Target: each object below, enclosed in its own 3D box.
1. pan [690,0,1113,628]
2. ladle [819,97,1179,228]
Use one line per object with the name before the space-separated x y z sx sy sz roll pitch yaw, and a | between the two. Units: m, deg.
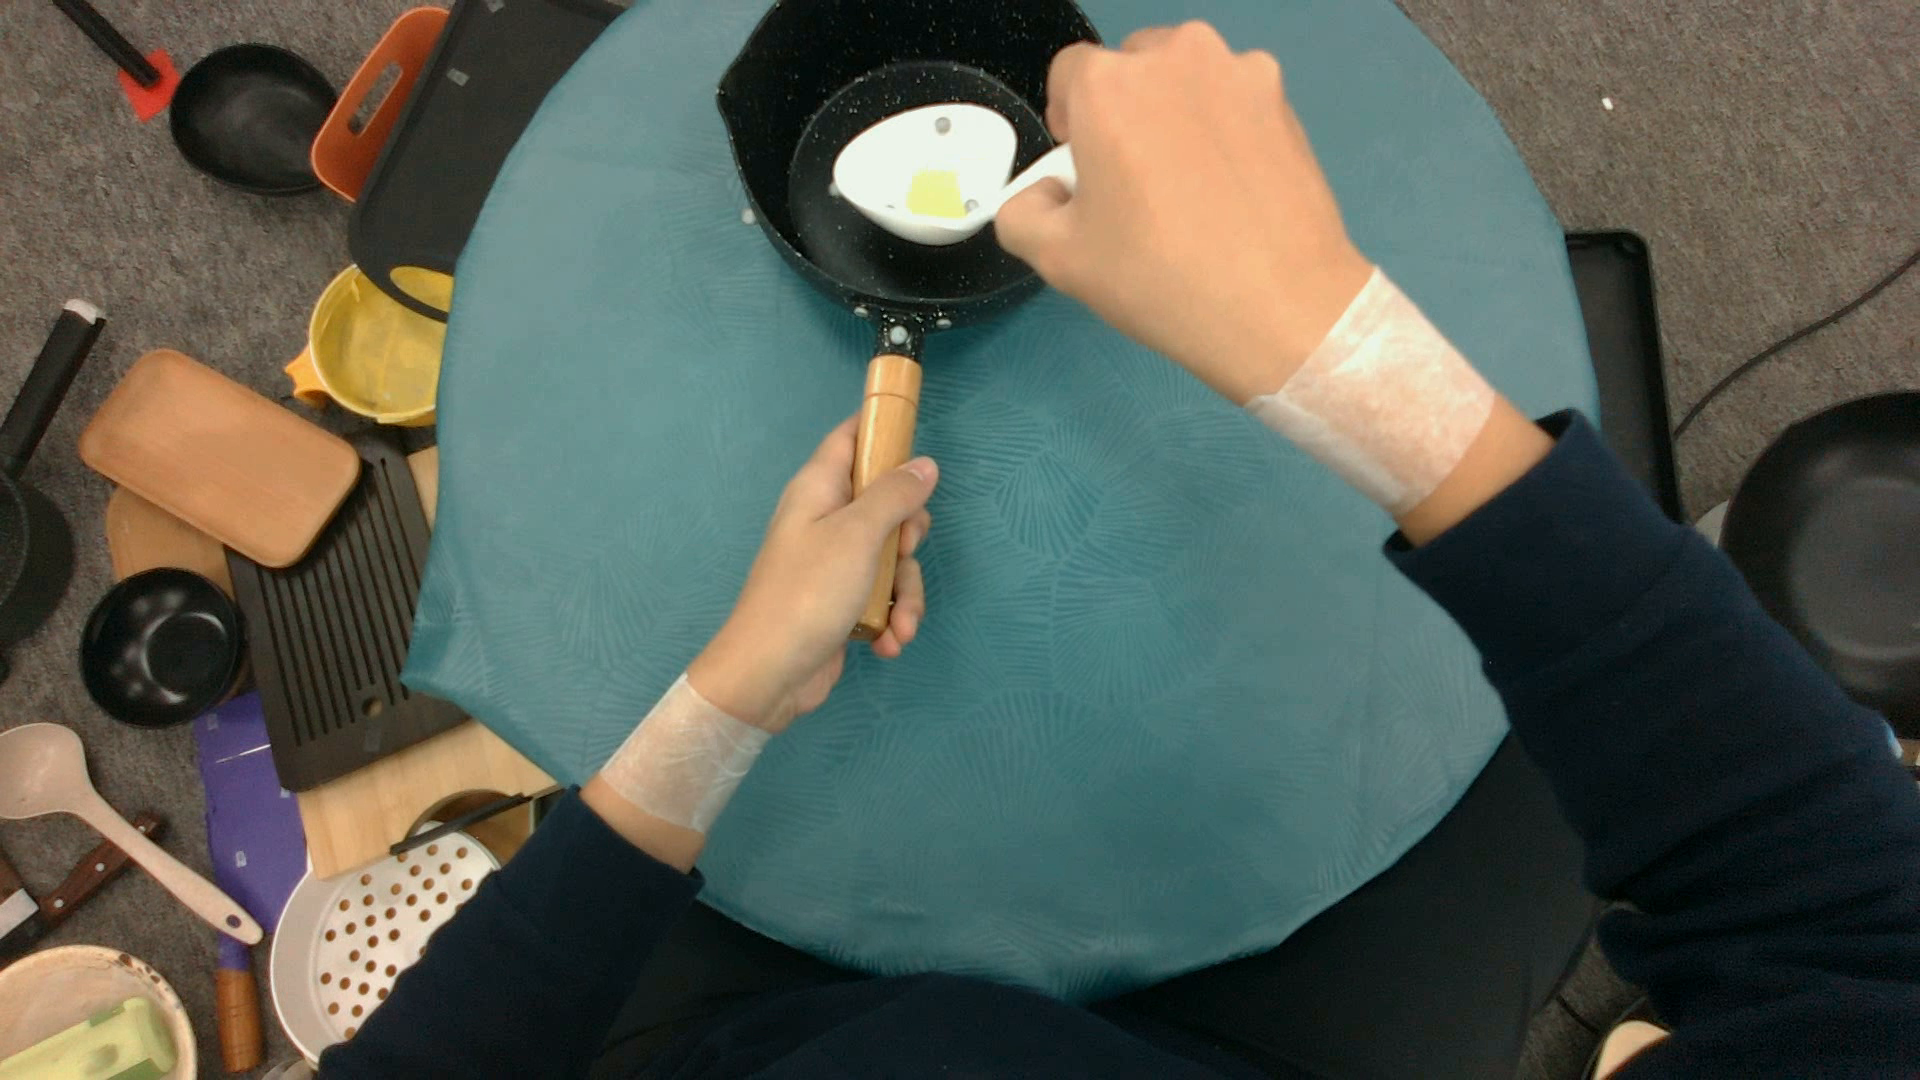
pan | -0.033 -0.121 0.663 0.207 0.108 0.343 6 78 -2
ladle | 0.010 -0.165 0.569 0.090 0.293 0.070 -14 104 -14
